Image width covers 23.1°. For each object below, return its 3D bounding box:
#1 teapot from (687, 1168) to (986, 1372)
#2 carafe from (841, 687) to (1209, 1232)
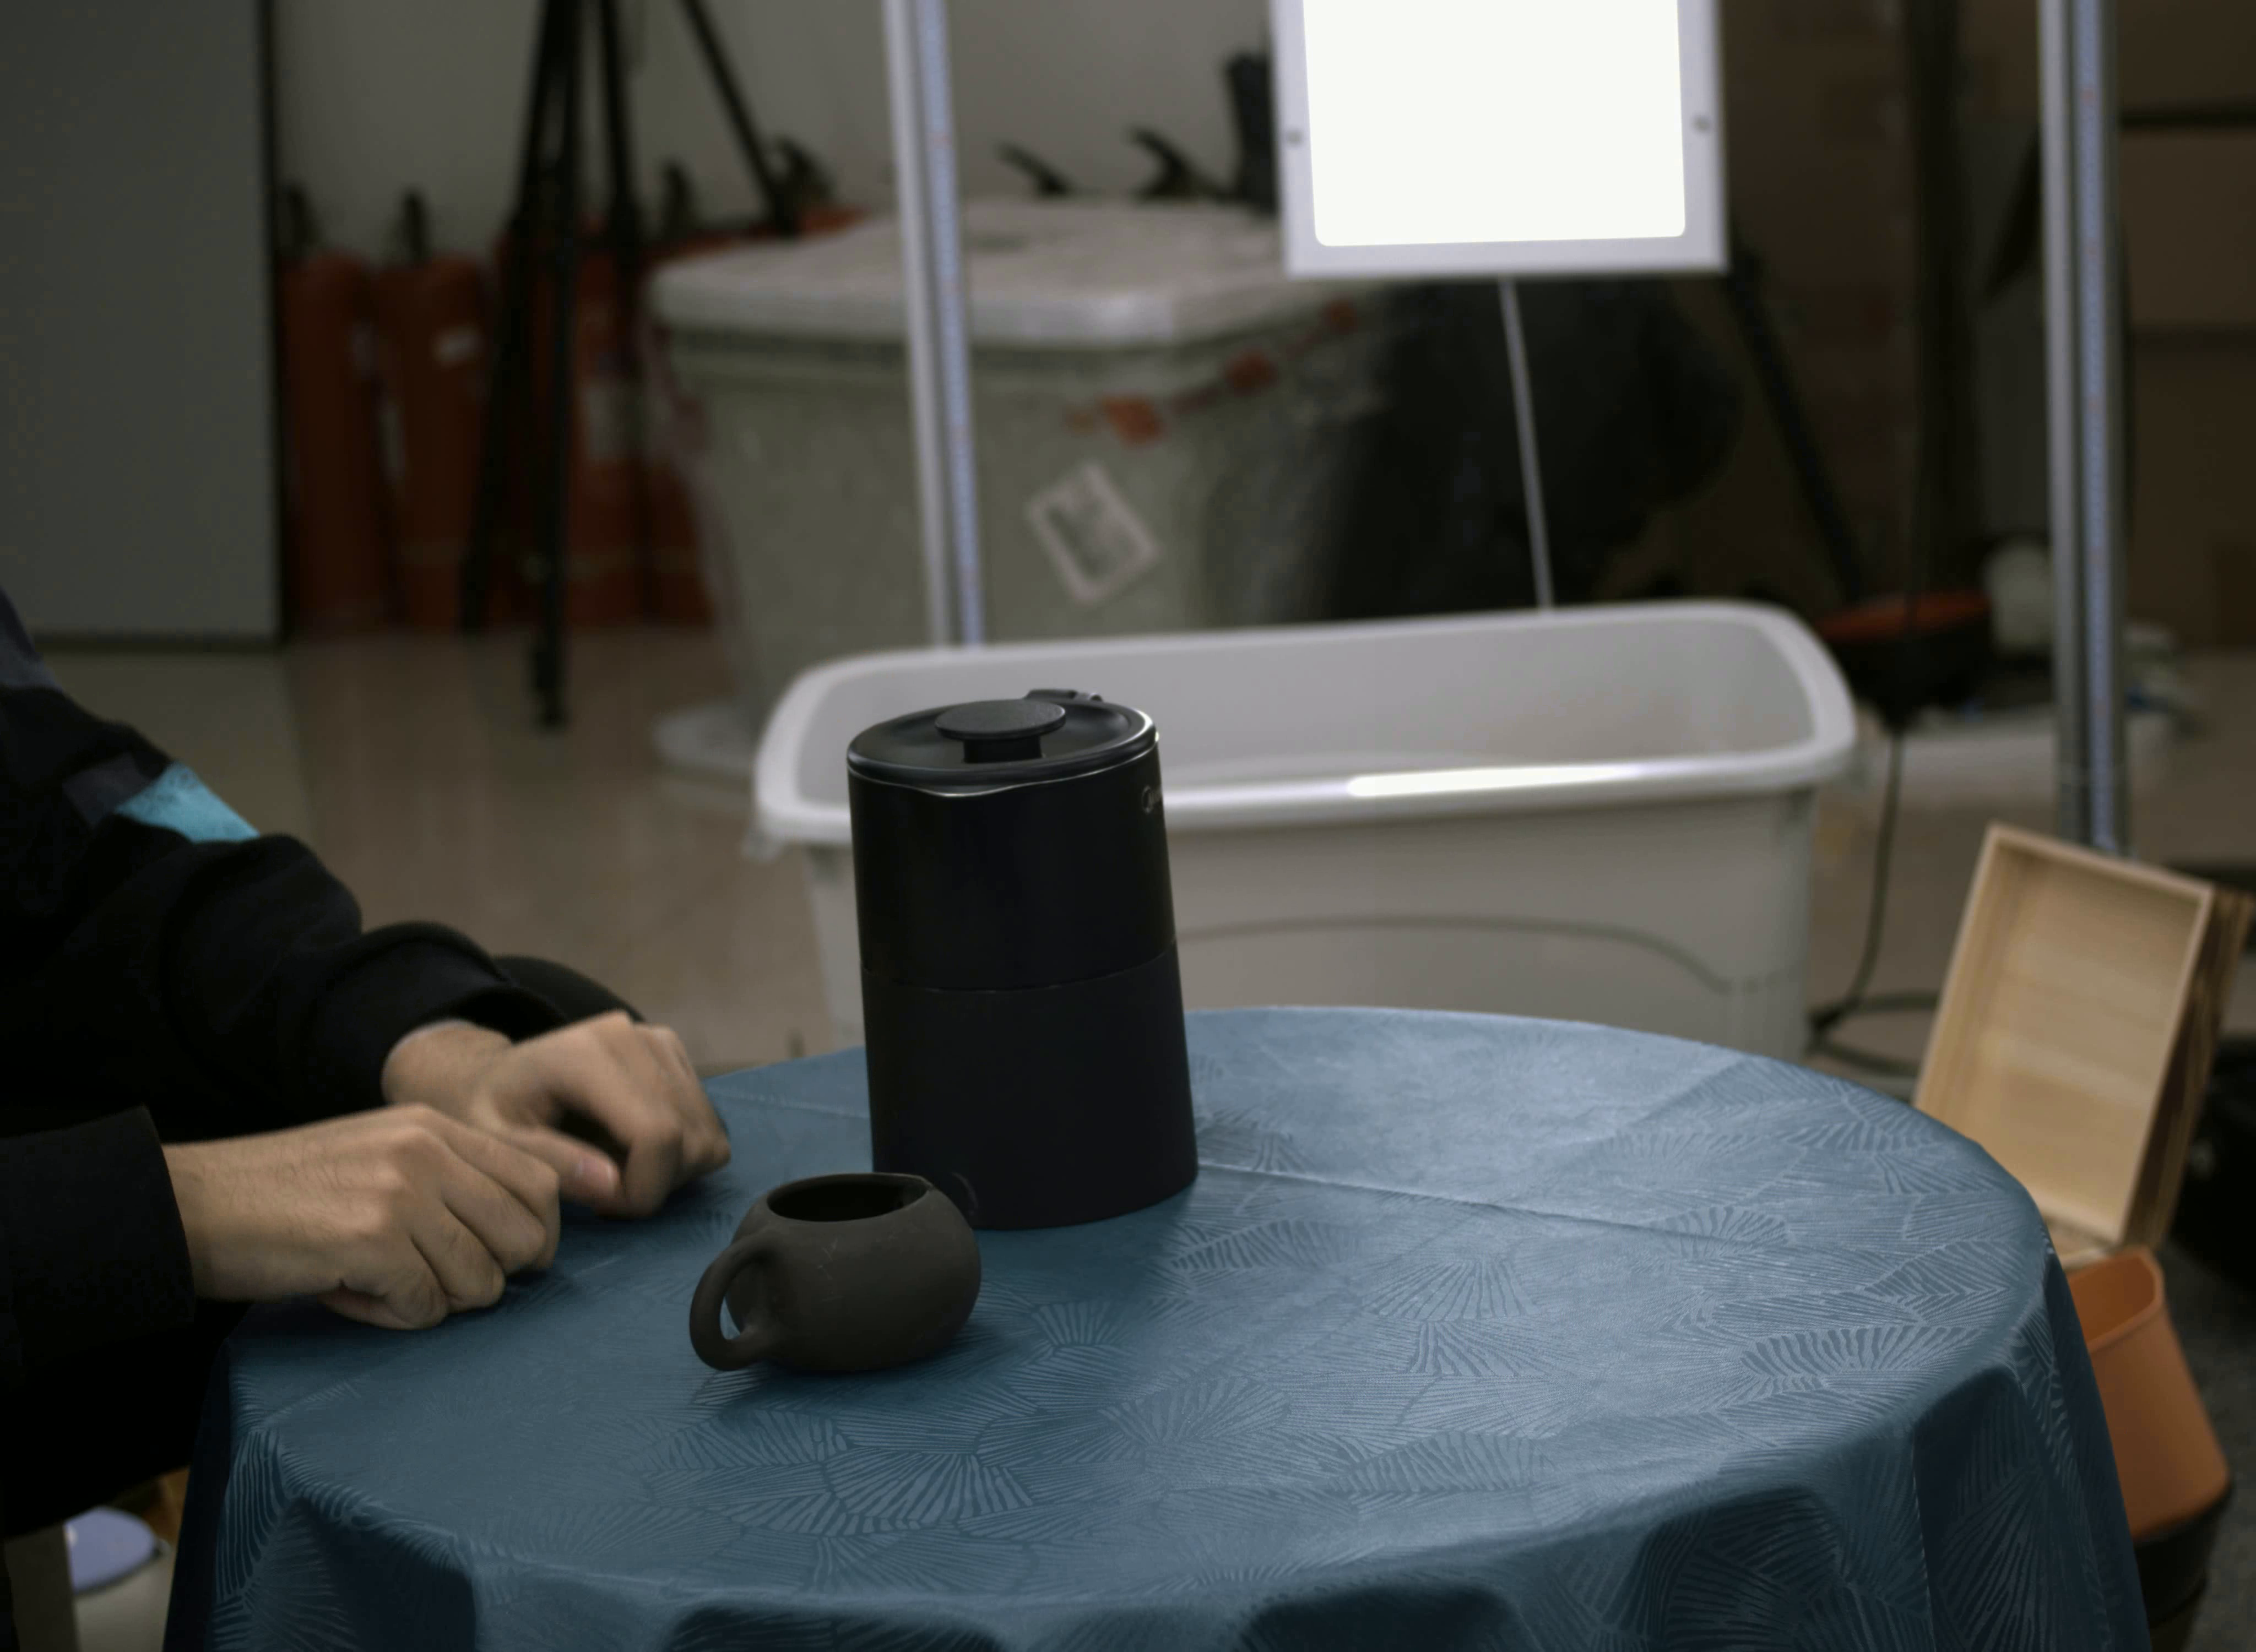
[{"bbox_3d":[-0.095,0.144,1.754,0.111,0.053,0.085,-13,15,-40],"label":"teapot"},{"bbox_3d":[-0.034,0.036,1.917,0.115,0.174,0.169,-3,16,13],"label":"carafe"}]
